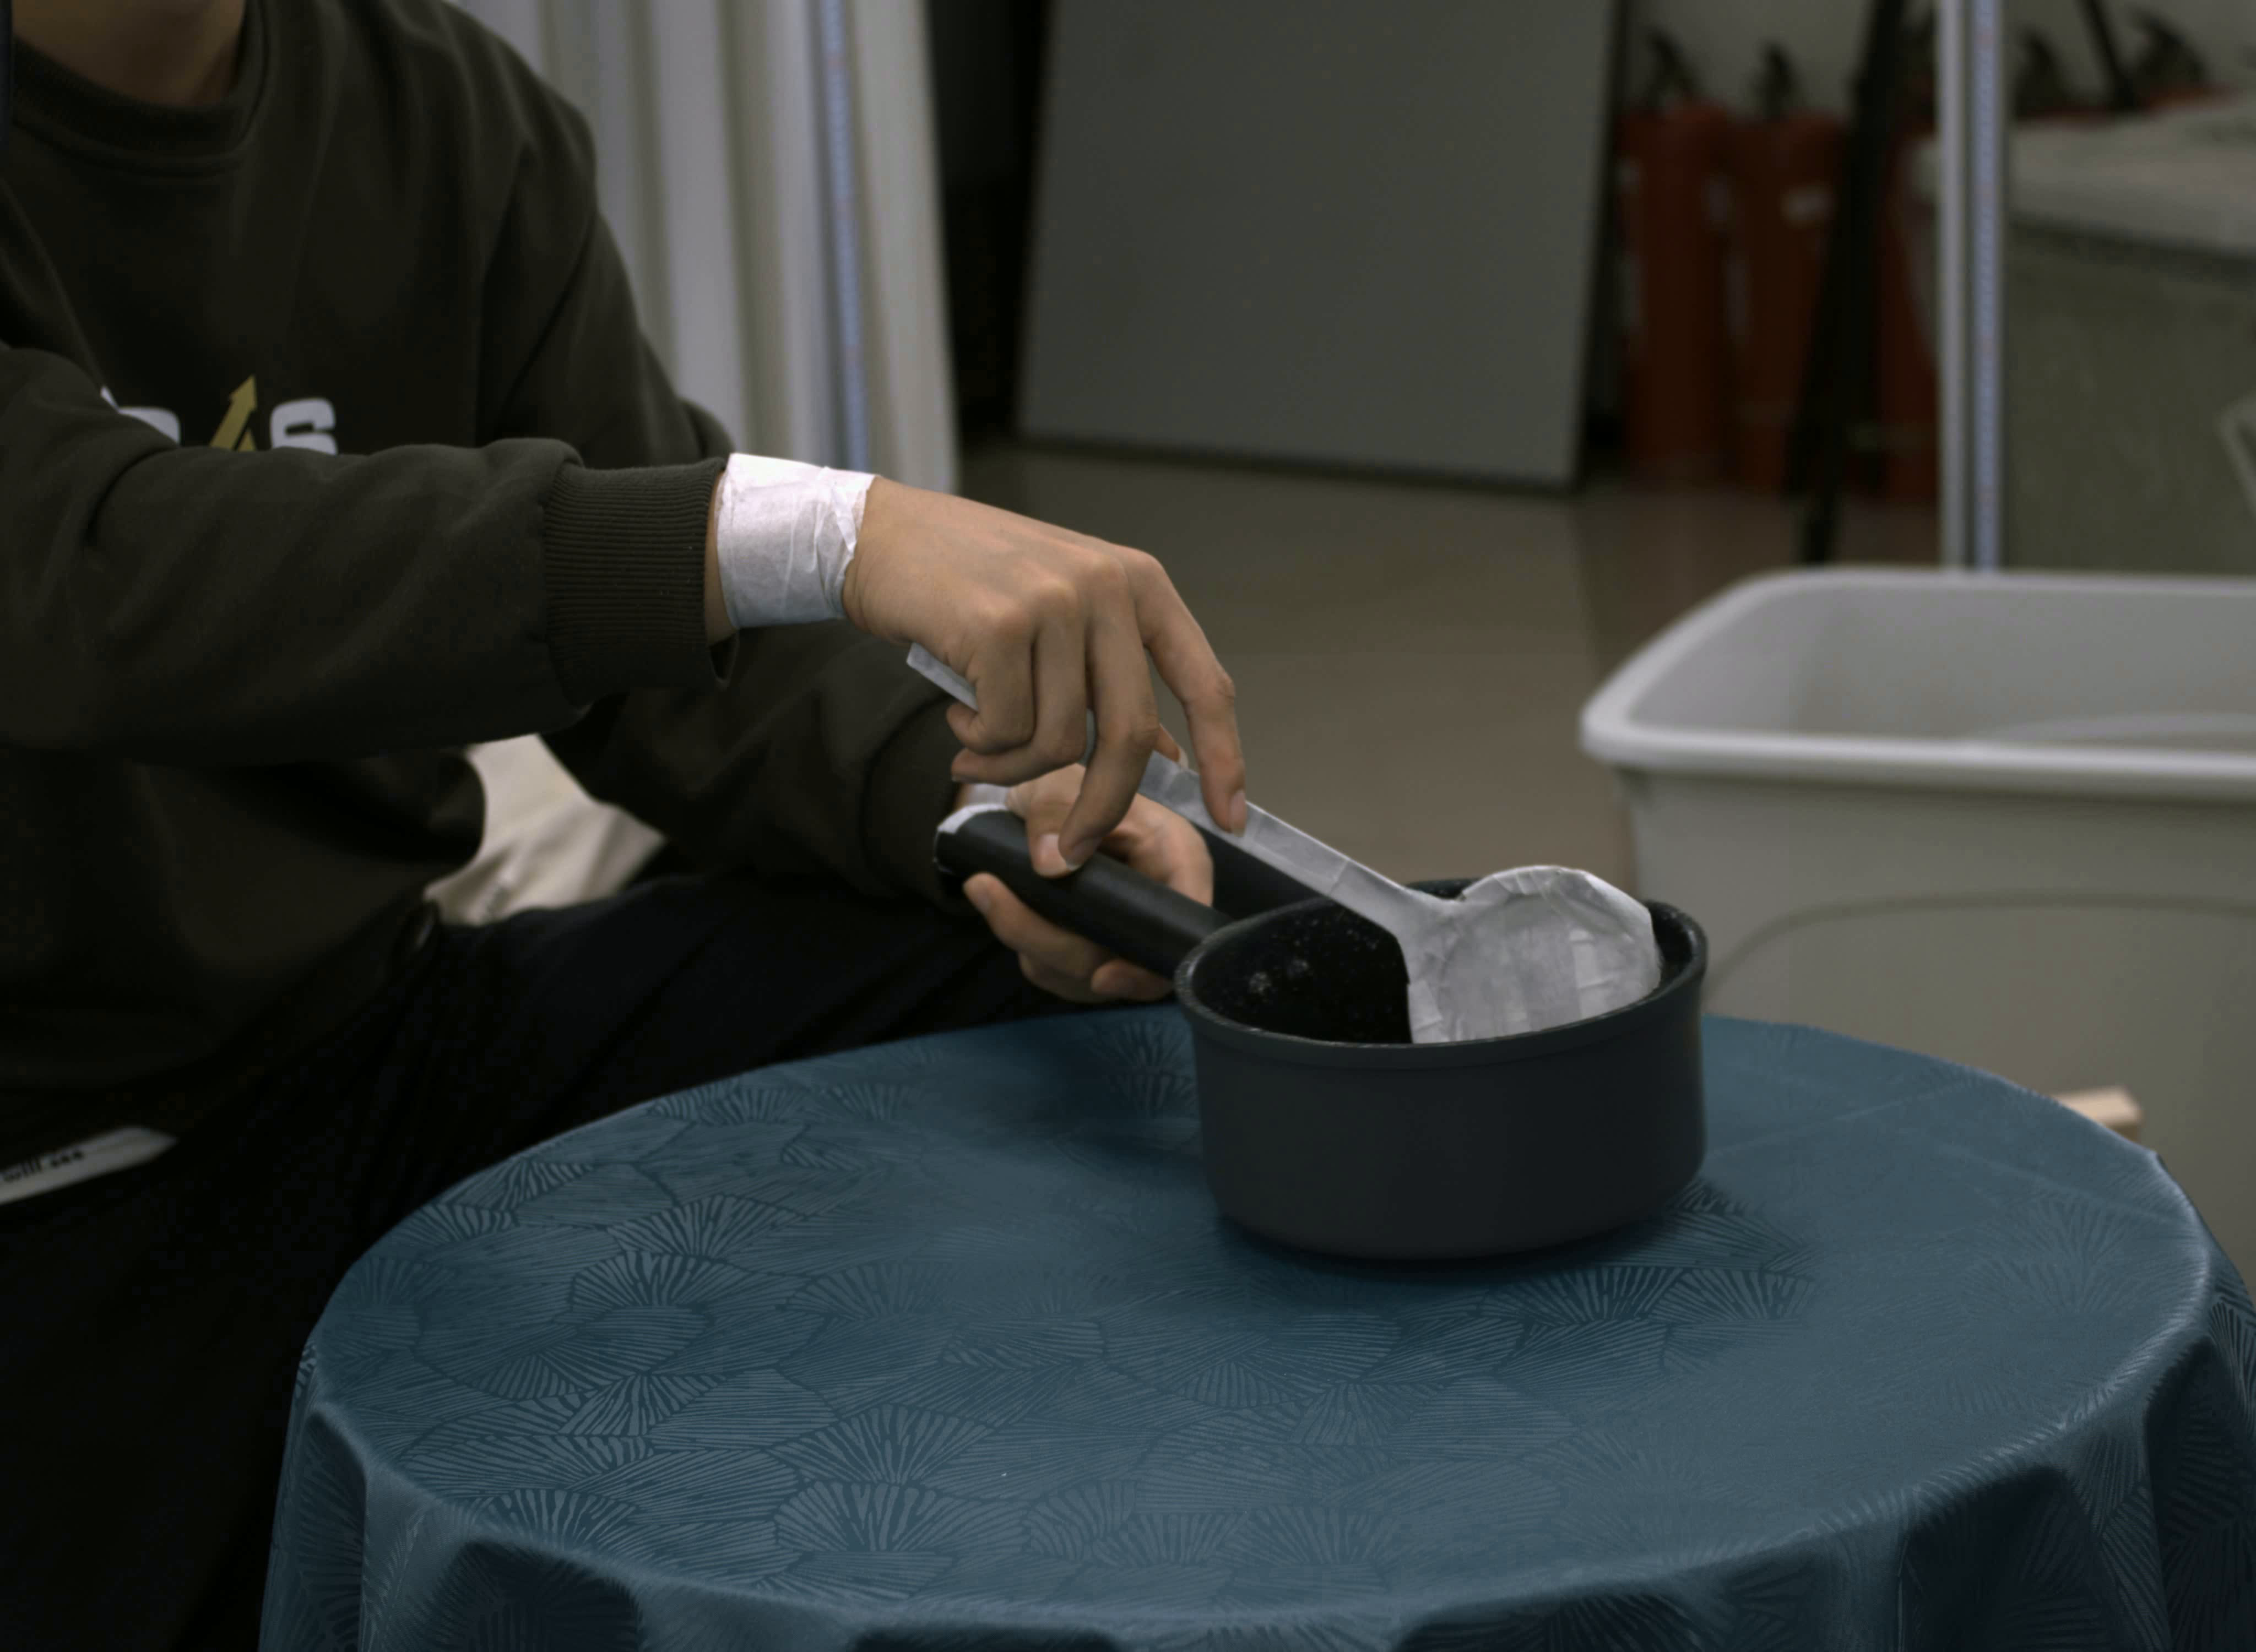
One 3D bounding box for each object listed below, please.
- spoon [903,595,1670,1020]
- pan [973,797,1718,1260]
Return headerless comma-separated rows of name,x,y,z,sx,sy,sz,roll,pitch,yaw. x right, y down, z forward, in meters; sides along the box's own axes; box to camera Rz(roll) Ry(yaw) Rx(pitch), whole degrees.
spoon,0.051,-0.001,1.729,0.274,0.101,0.059,31,3,-11
pan,0.057,0.061,1.784,0.168,0.087,0.332,-16,19,-35
